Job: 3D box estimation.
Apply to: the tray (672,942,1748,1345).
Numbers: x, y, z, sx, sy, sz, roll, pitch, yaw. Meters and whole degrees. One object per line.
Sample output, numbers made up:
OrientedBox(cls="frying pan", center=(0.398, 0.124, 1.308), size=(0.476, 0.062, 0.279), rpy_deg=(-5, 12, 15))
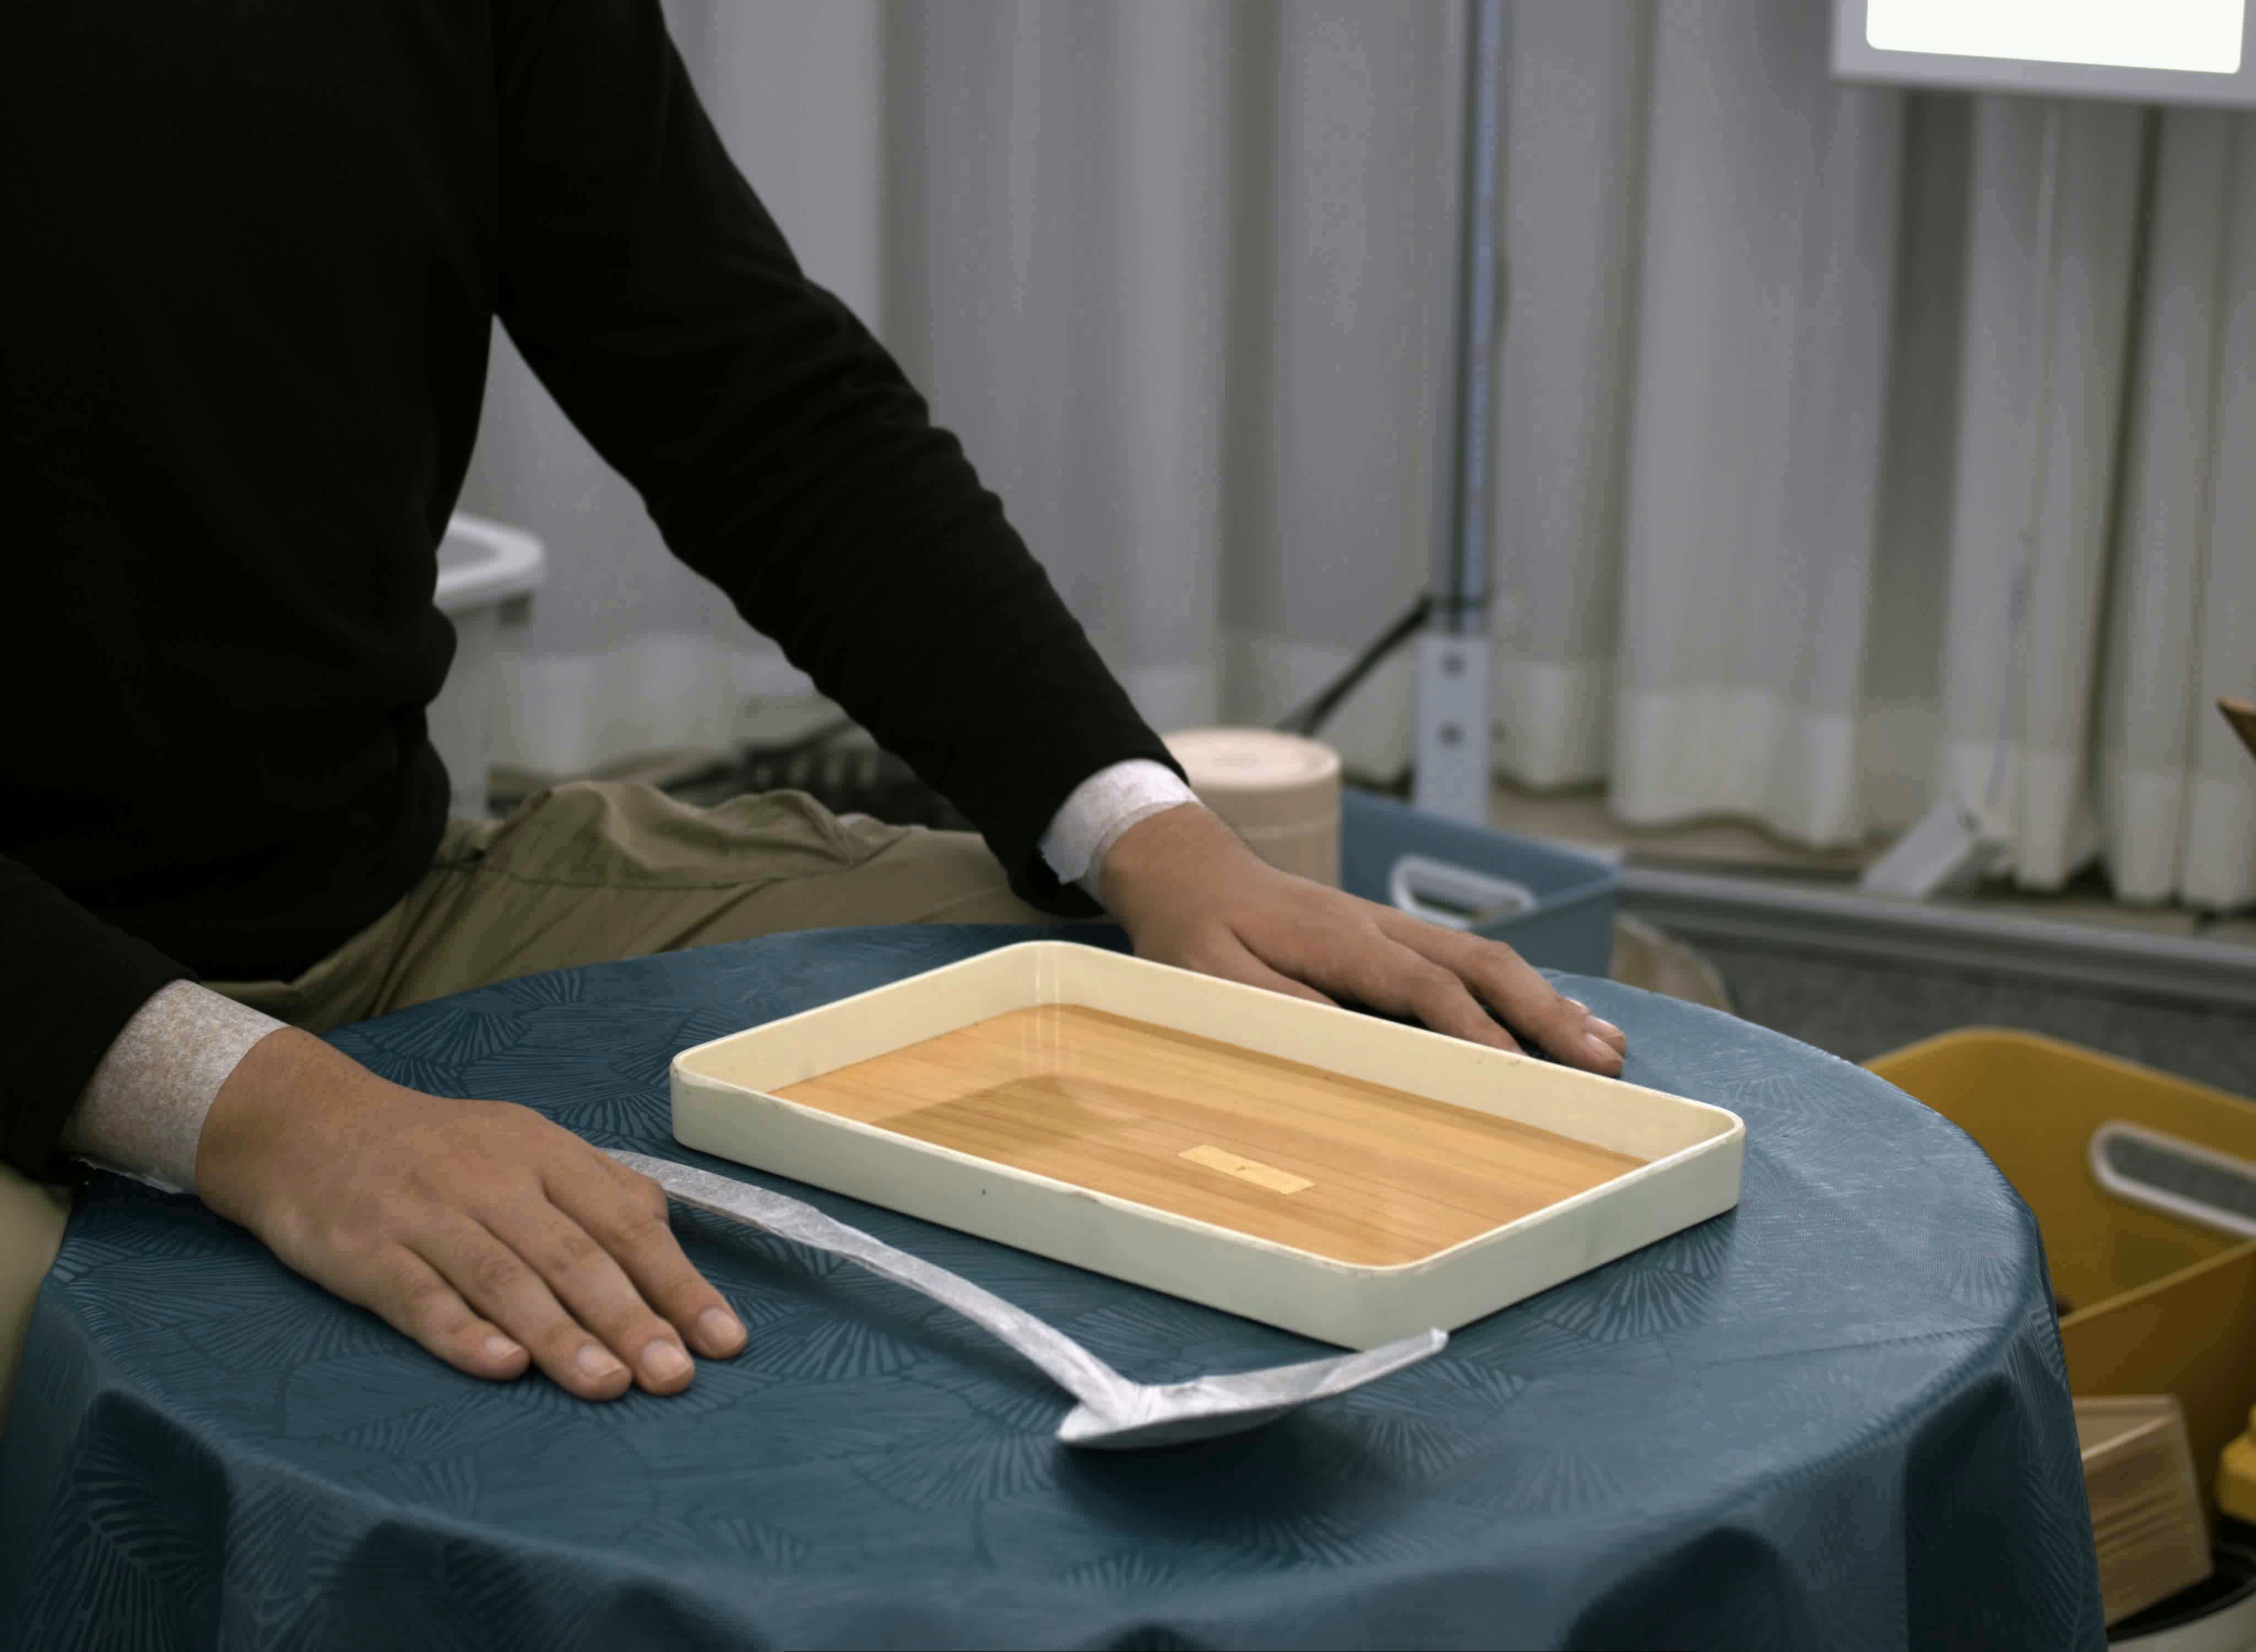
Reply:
OrientedBox(cls="tray", center=(0.023, 0.094, 1.637), size=(0.296, 0.027, 0.192), rpy_deg=(13, 20, 39))

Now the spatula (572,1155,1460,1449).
OrientedBox(cls="spatula", center=(-0.056, 0.125, 1.500), size=(0.099, 0.045, 0.360), rpy_deg=(-14, 21, -40))
